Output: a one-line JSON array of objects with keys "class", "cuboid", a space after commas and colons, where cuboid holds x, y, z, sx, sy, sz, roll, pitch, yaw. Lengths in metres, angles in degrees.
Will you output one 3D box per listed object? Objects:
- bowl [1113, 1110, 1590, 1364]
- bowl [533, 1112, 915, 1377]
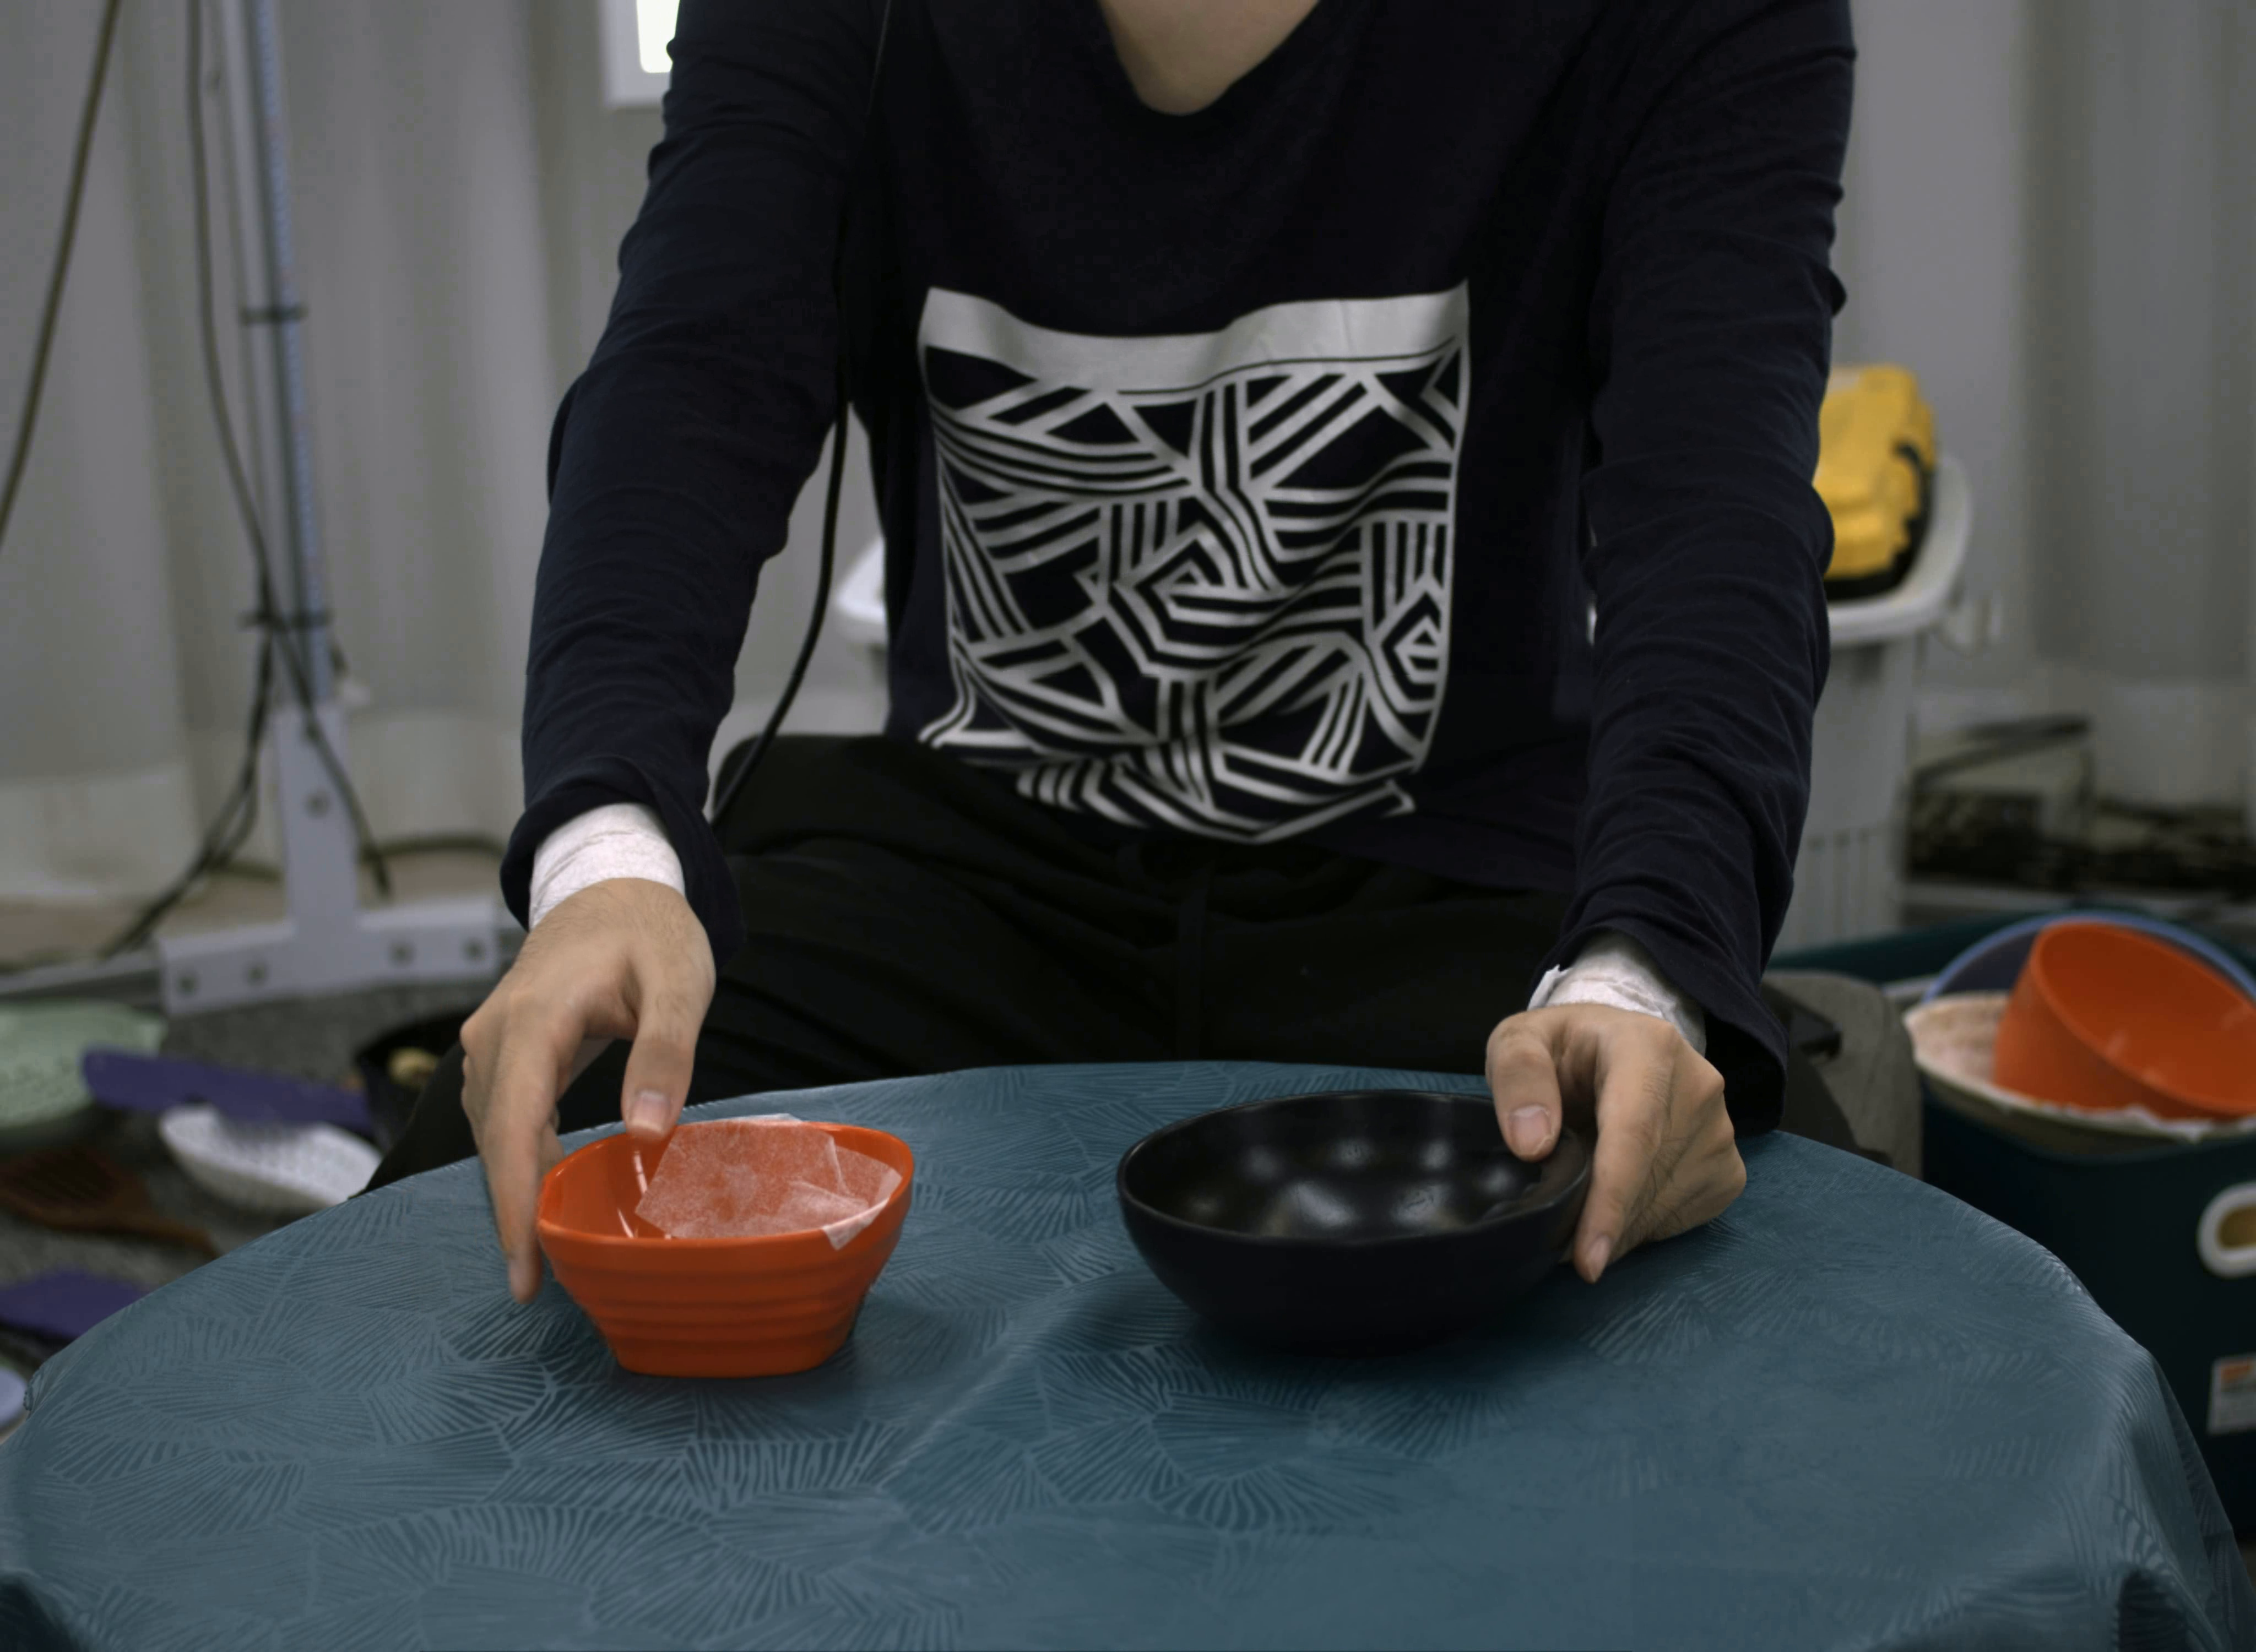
[{"class": "bowl", "cuboid": [0.066, 0.123, 1.589, 0.139, 0.049, 0.141, -2, 11, 0]}, {"class": "bowl", "cuboid": [-0.116, 0.125, 1.598, 0.118, 0.051, 0.120, -4, 16, 1]}]
